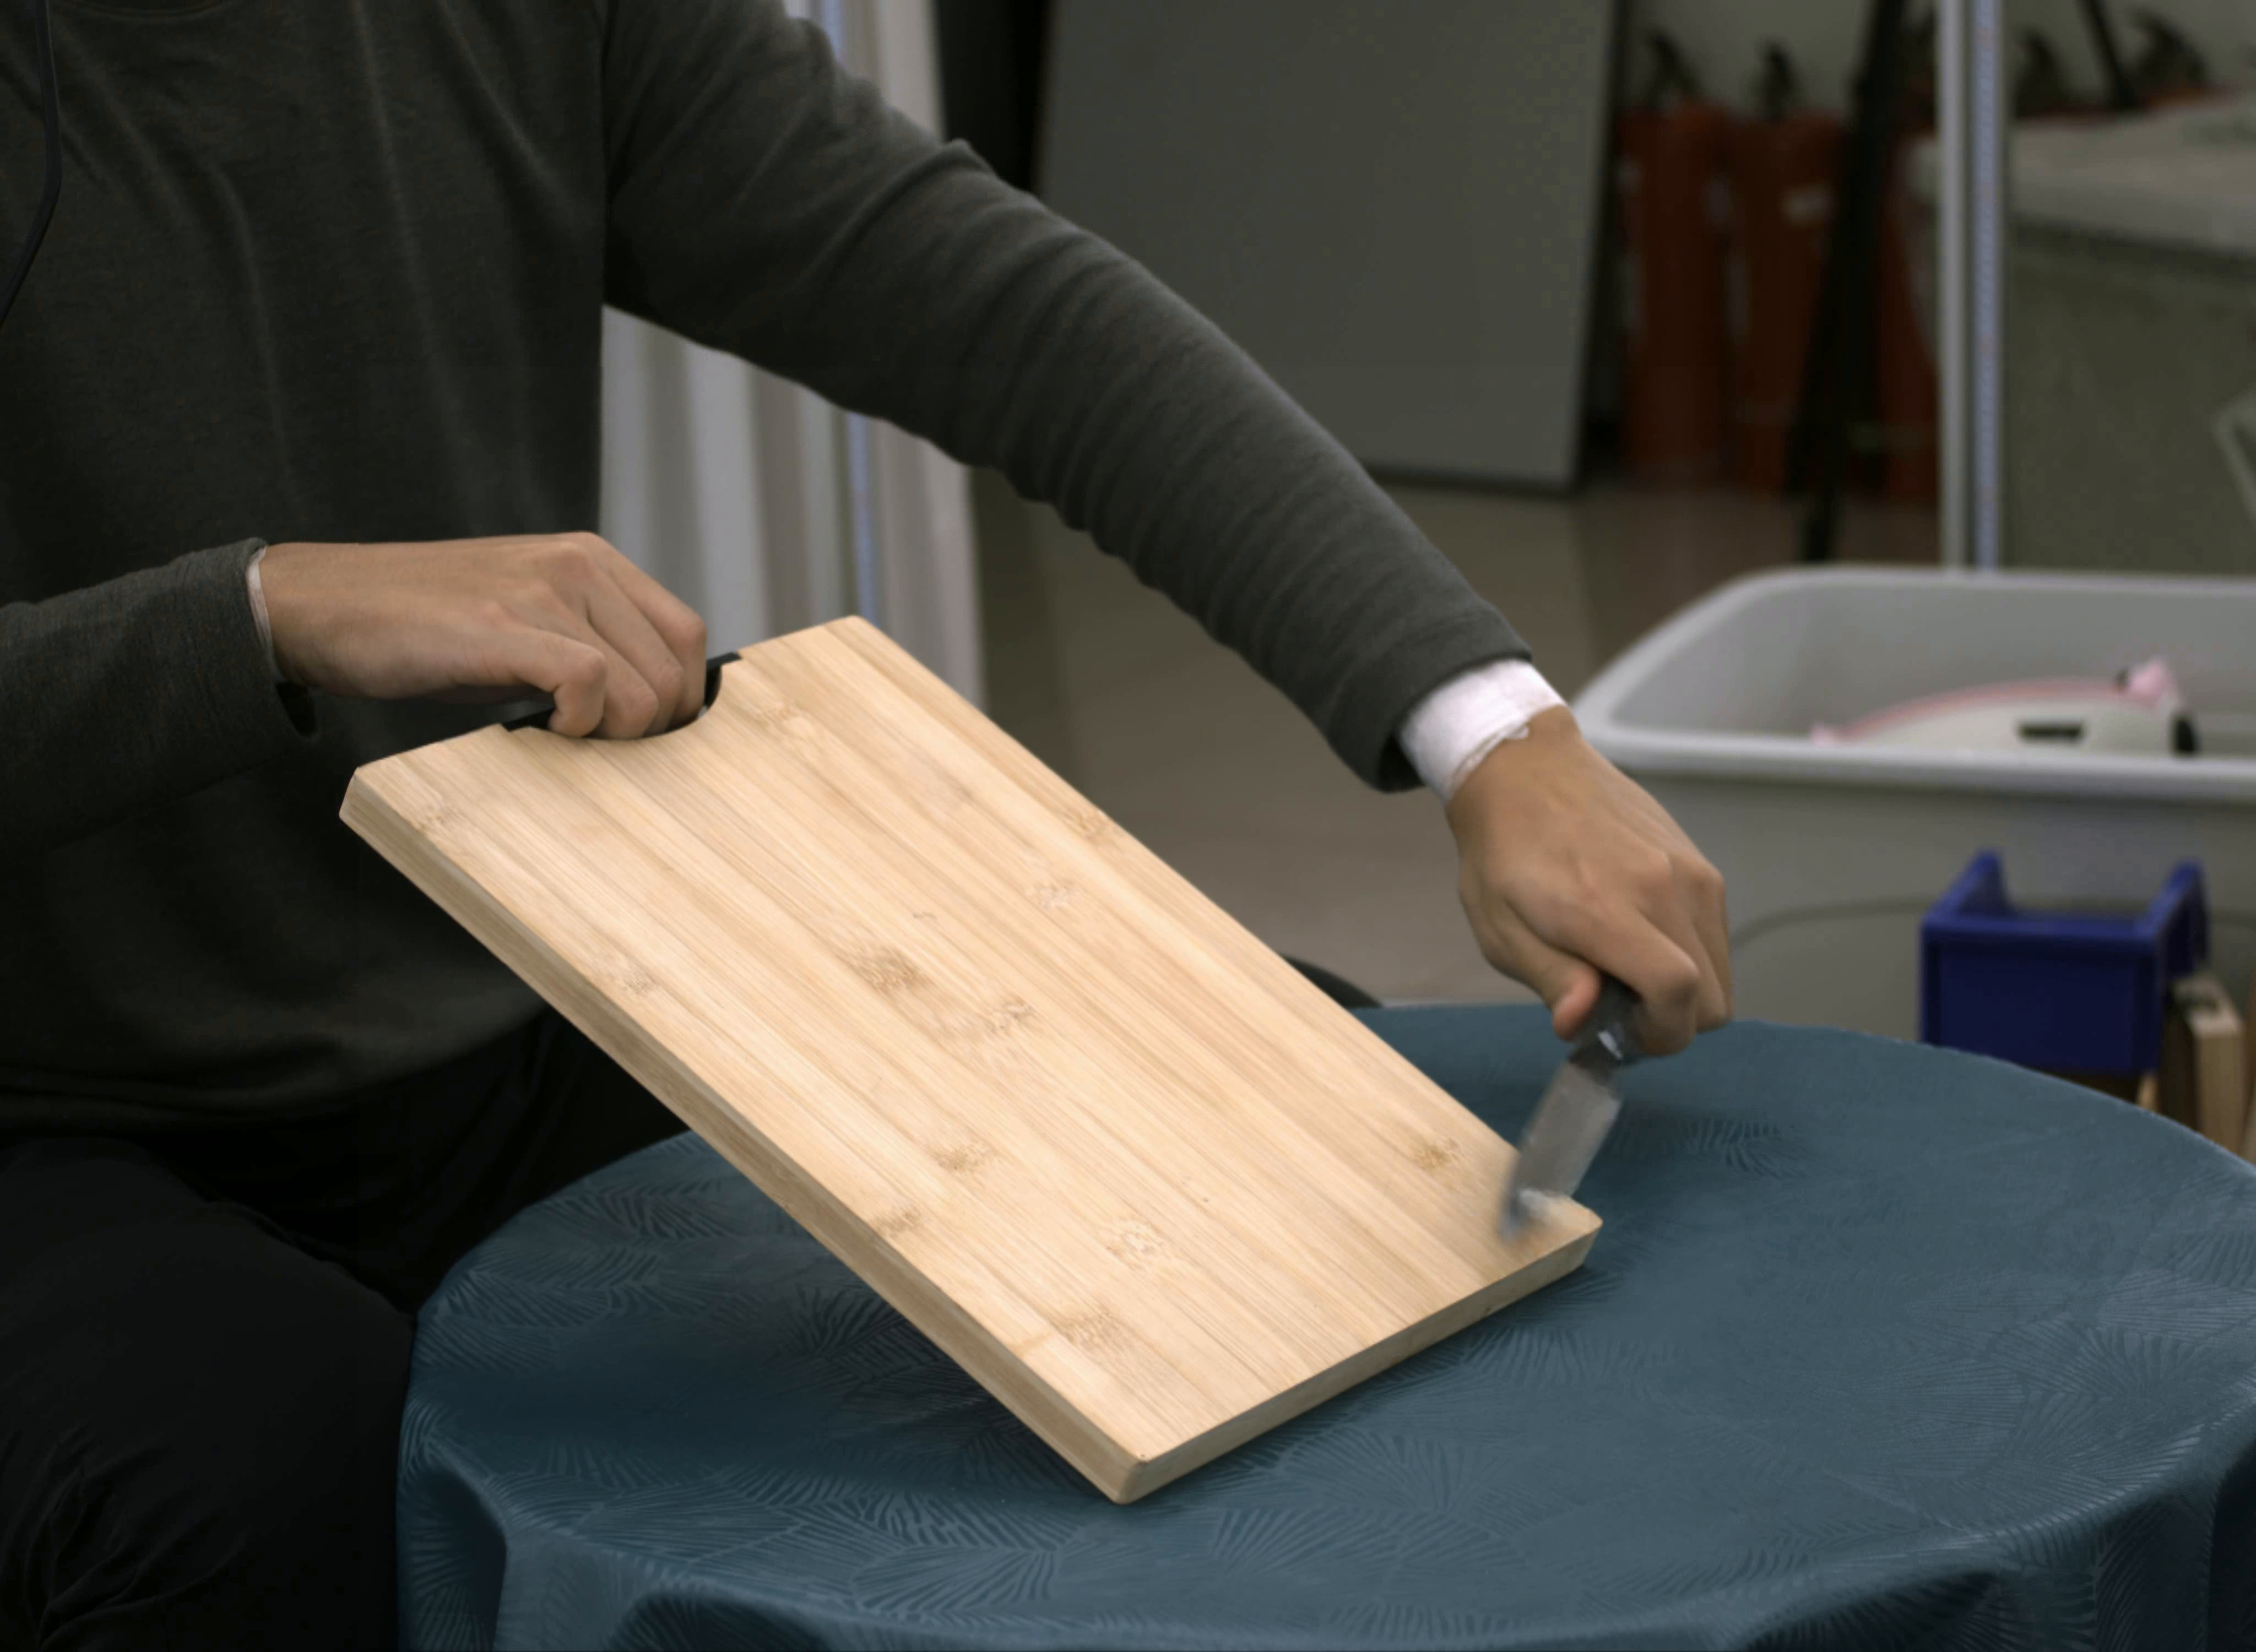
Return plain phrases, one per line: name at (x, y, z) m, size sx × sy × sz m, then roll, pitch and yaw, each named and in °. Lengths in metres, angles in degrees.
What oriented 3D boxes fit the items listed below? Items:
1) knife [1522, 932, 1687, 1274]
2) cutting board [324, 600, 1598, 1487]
knife at (0.149, 0.086, 1.709) m, size 0.024 × 0.016 × 0.237 m, roll 31°, pitch 28°, yaw 2°
cutting board at (-0.050, 0.056, 1.656) m, size 0.351 × 0.024 × 0.246 m, roll 39°, pitch 34°, yaw 25°
